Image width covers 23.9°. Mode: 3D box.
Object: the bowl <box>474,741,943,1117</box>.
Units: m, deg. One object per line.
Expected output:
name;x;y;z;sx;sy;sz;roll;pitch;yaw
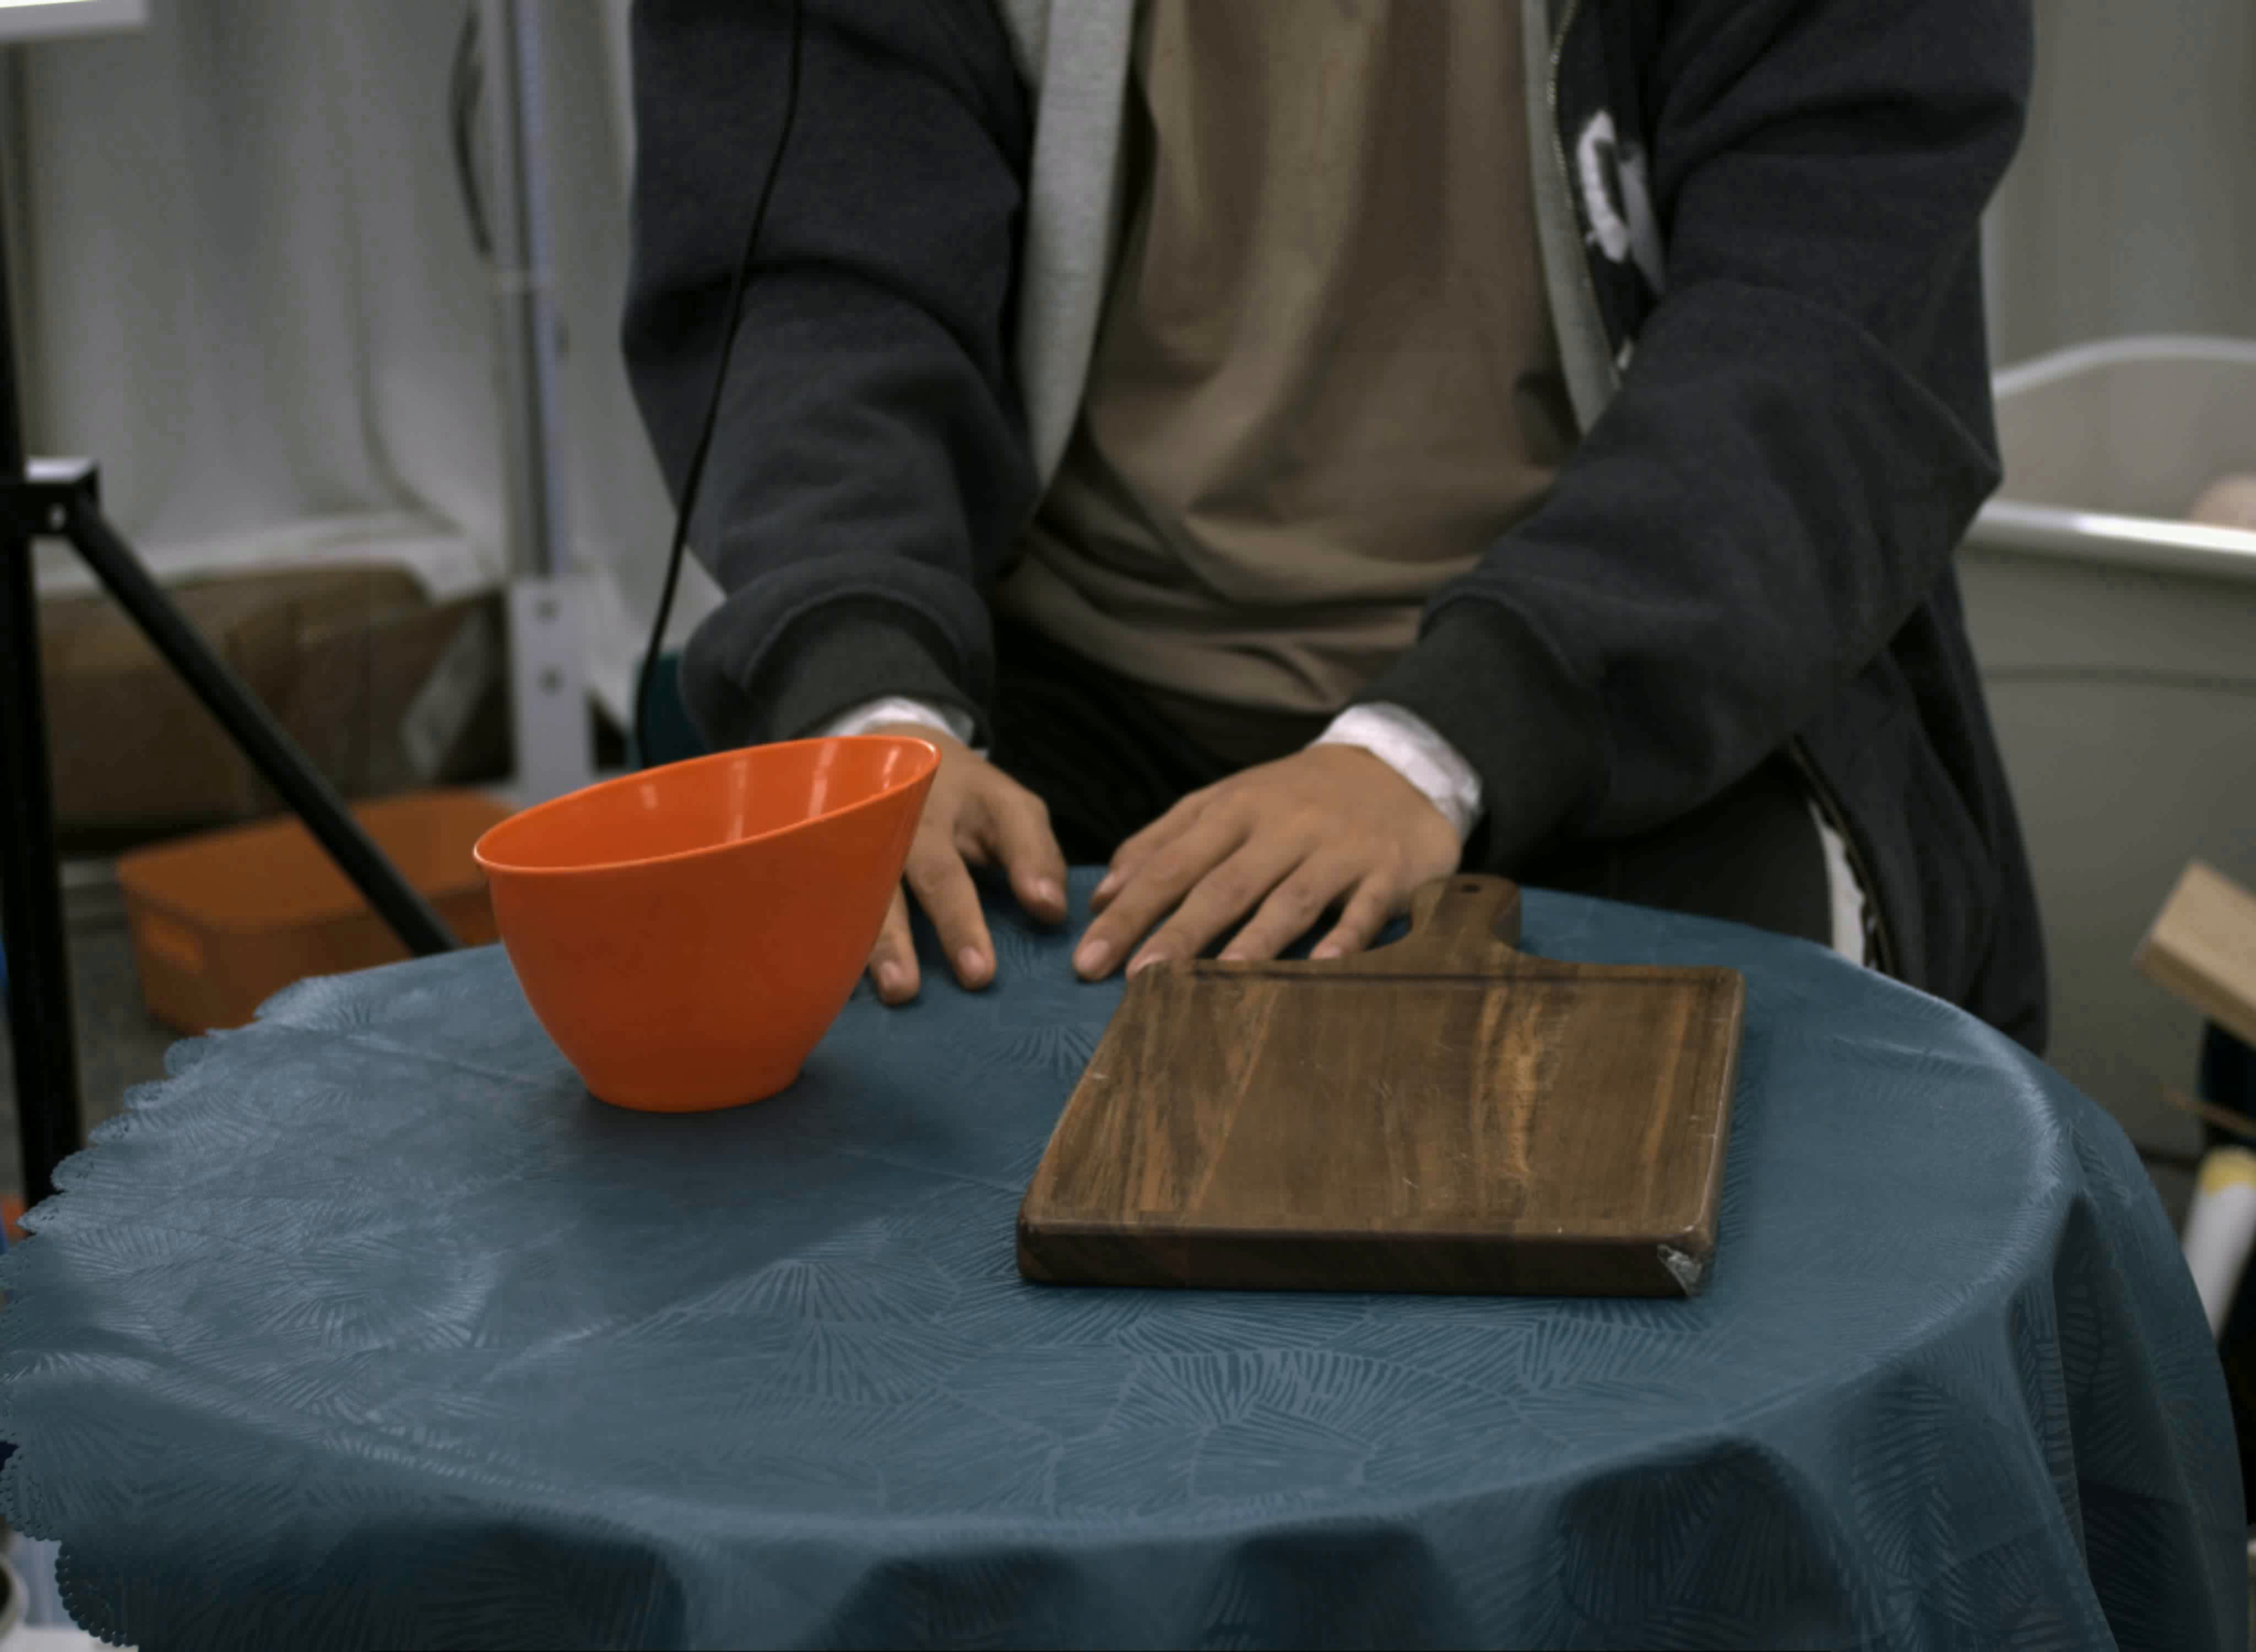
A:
bowl;-0.129;0.033;1.664;0.147;0.104;0.149;-3;16;-1

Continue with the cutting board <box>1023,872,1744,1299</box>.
cutting board;0.090;0.073;1.631;0.202;0.023;0.351;0;16;9
